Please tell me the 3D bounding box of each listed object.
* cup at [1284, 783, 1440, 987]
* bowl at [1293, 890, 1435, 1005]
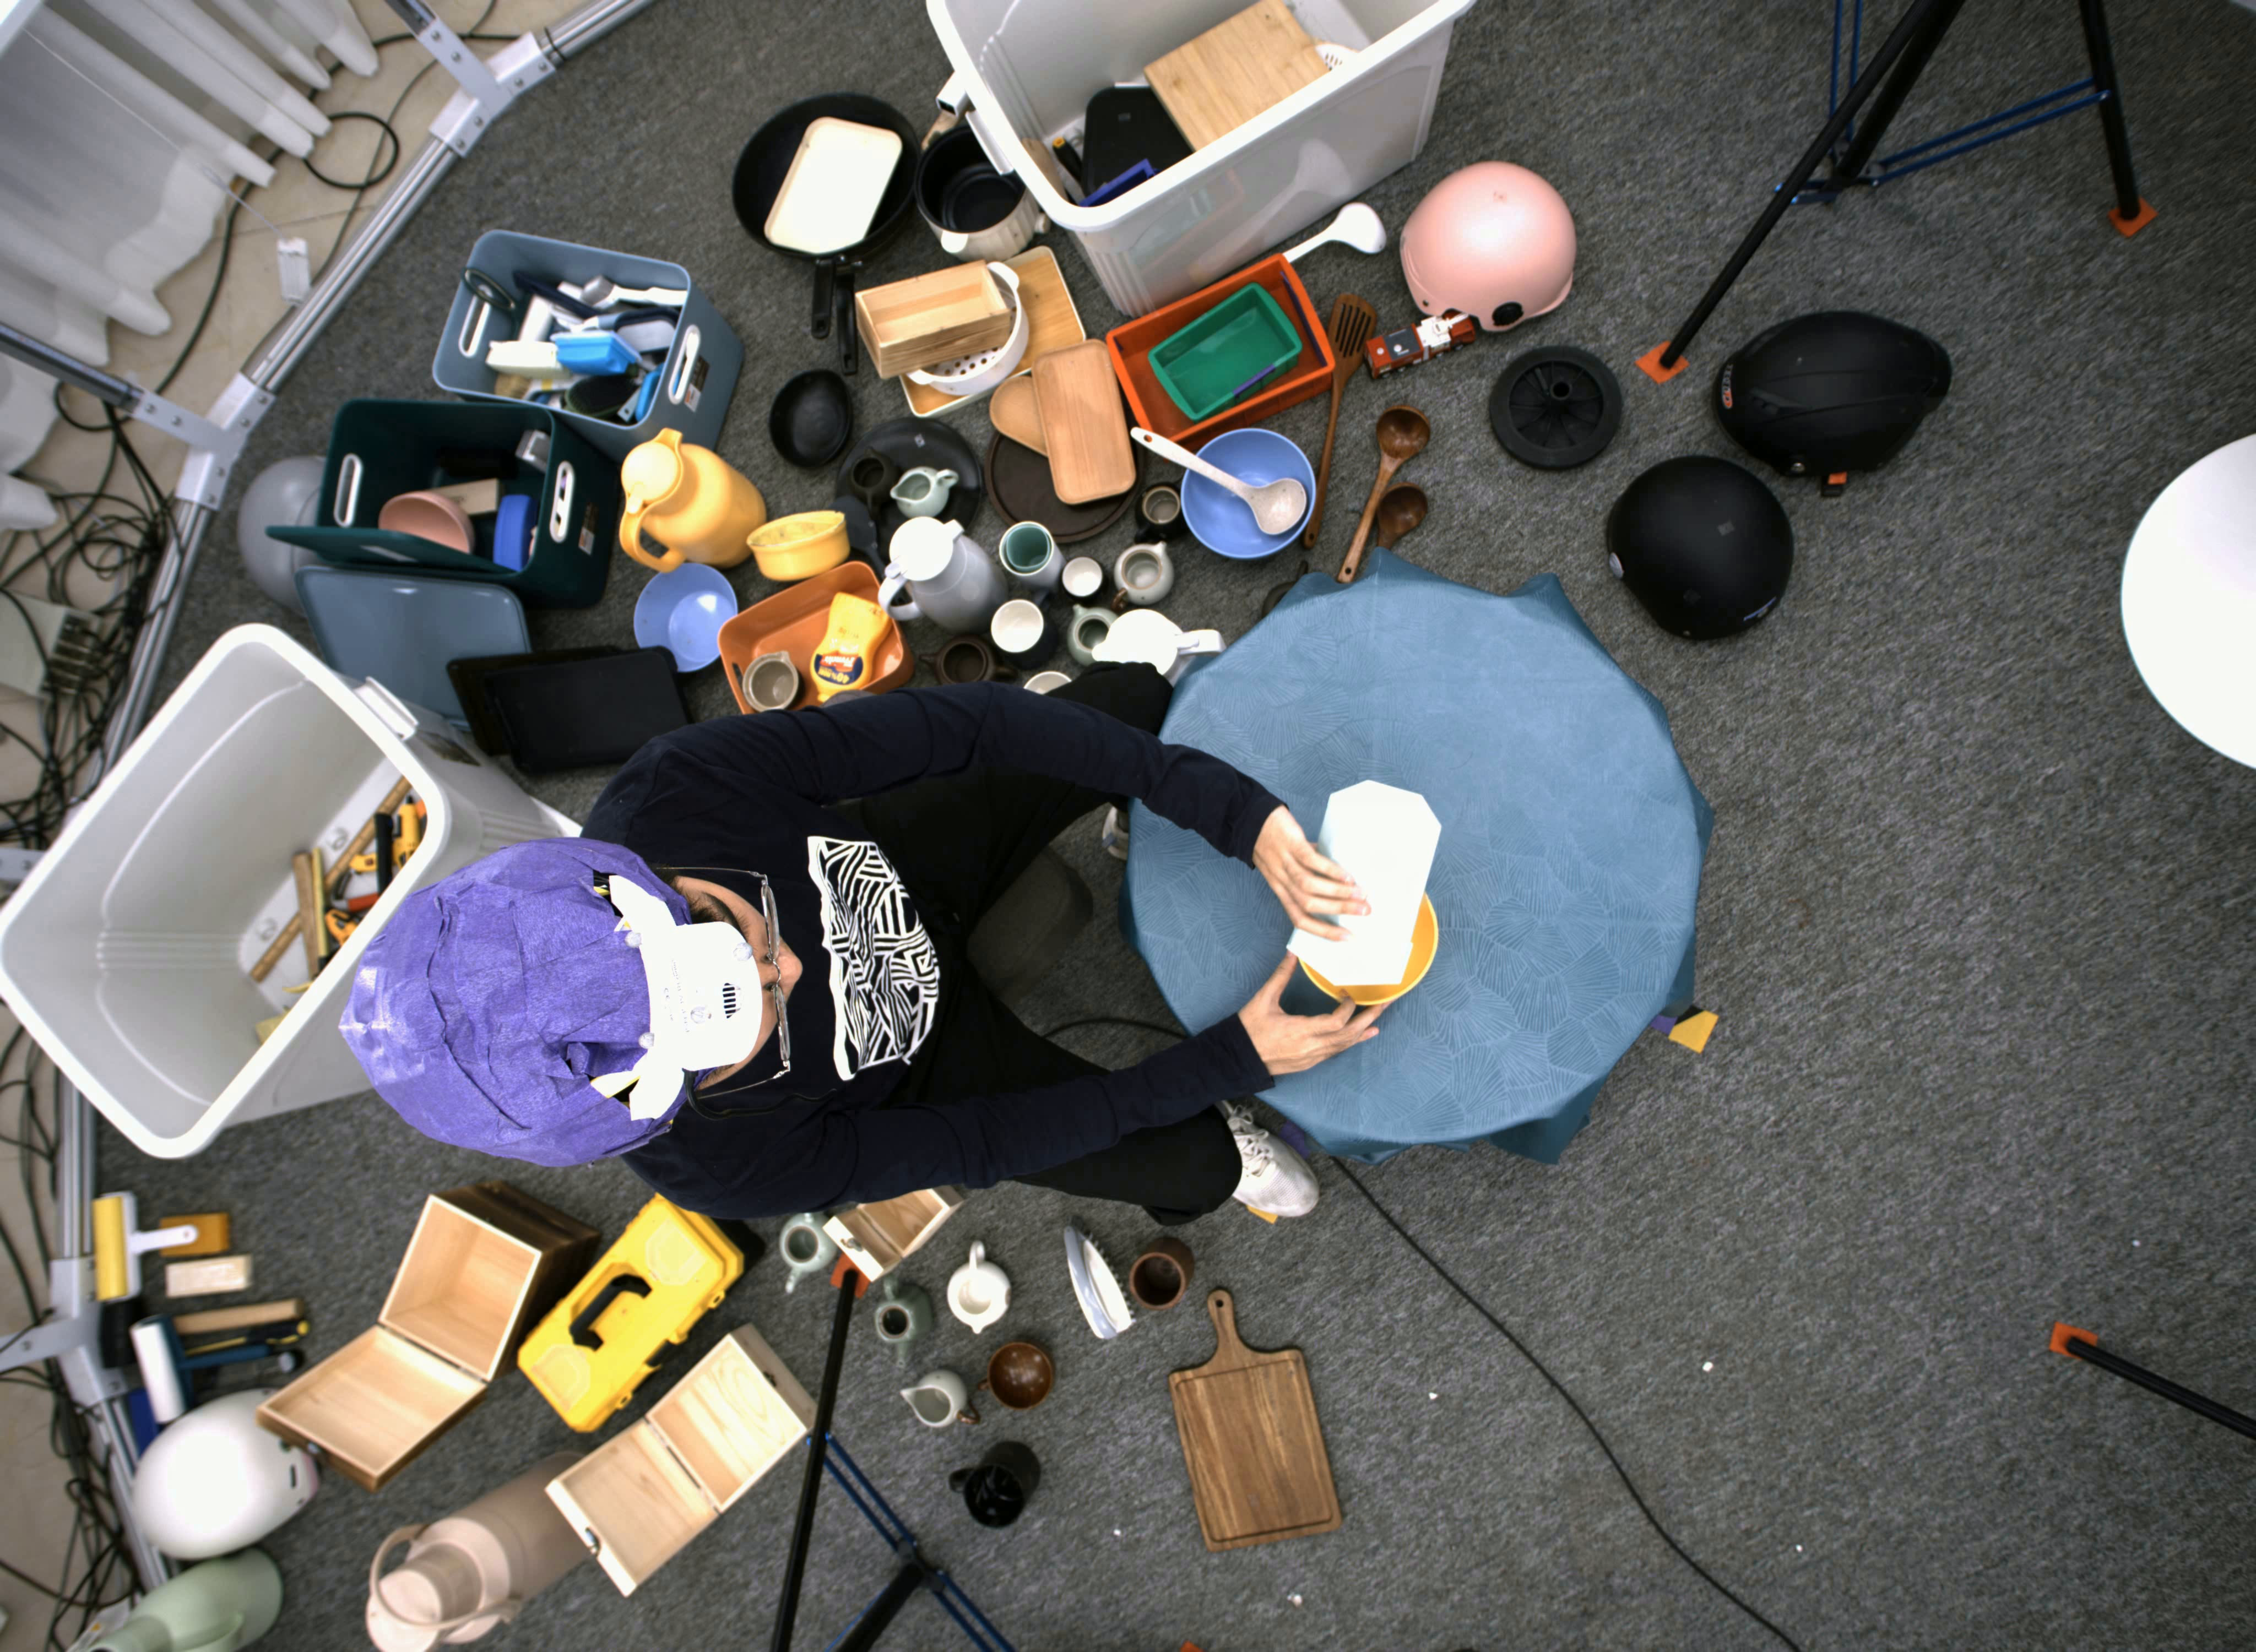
[{"bbox_3d":[0.226,0.054,1.309,0.115,0.128,0.167,20,128,14],"label":"cup"},{"bbox_3d":[0.245,0.112,1.435,0.146,0.060,0.144,-1,85,13],"label":"bowl"}]
